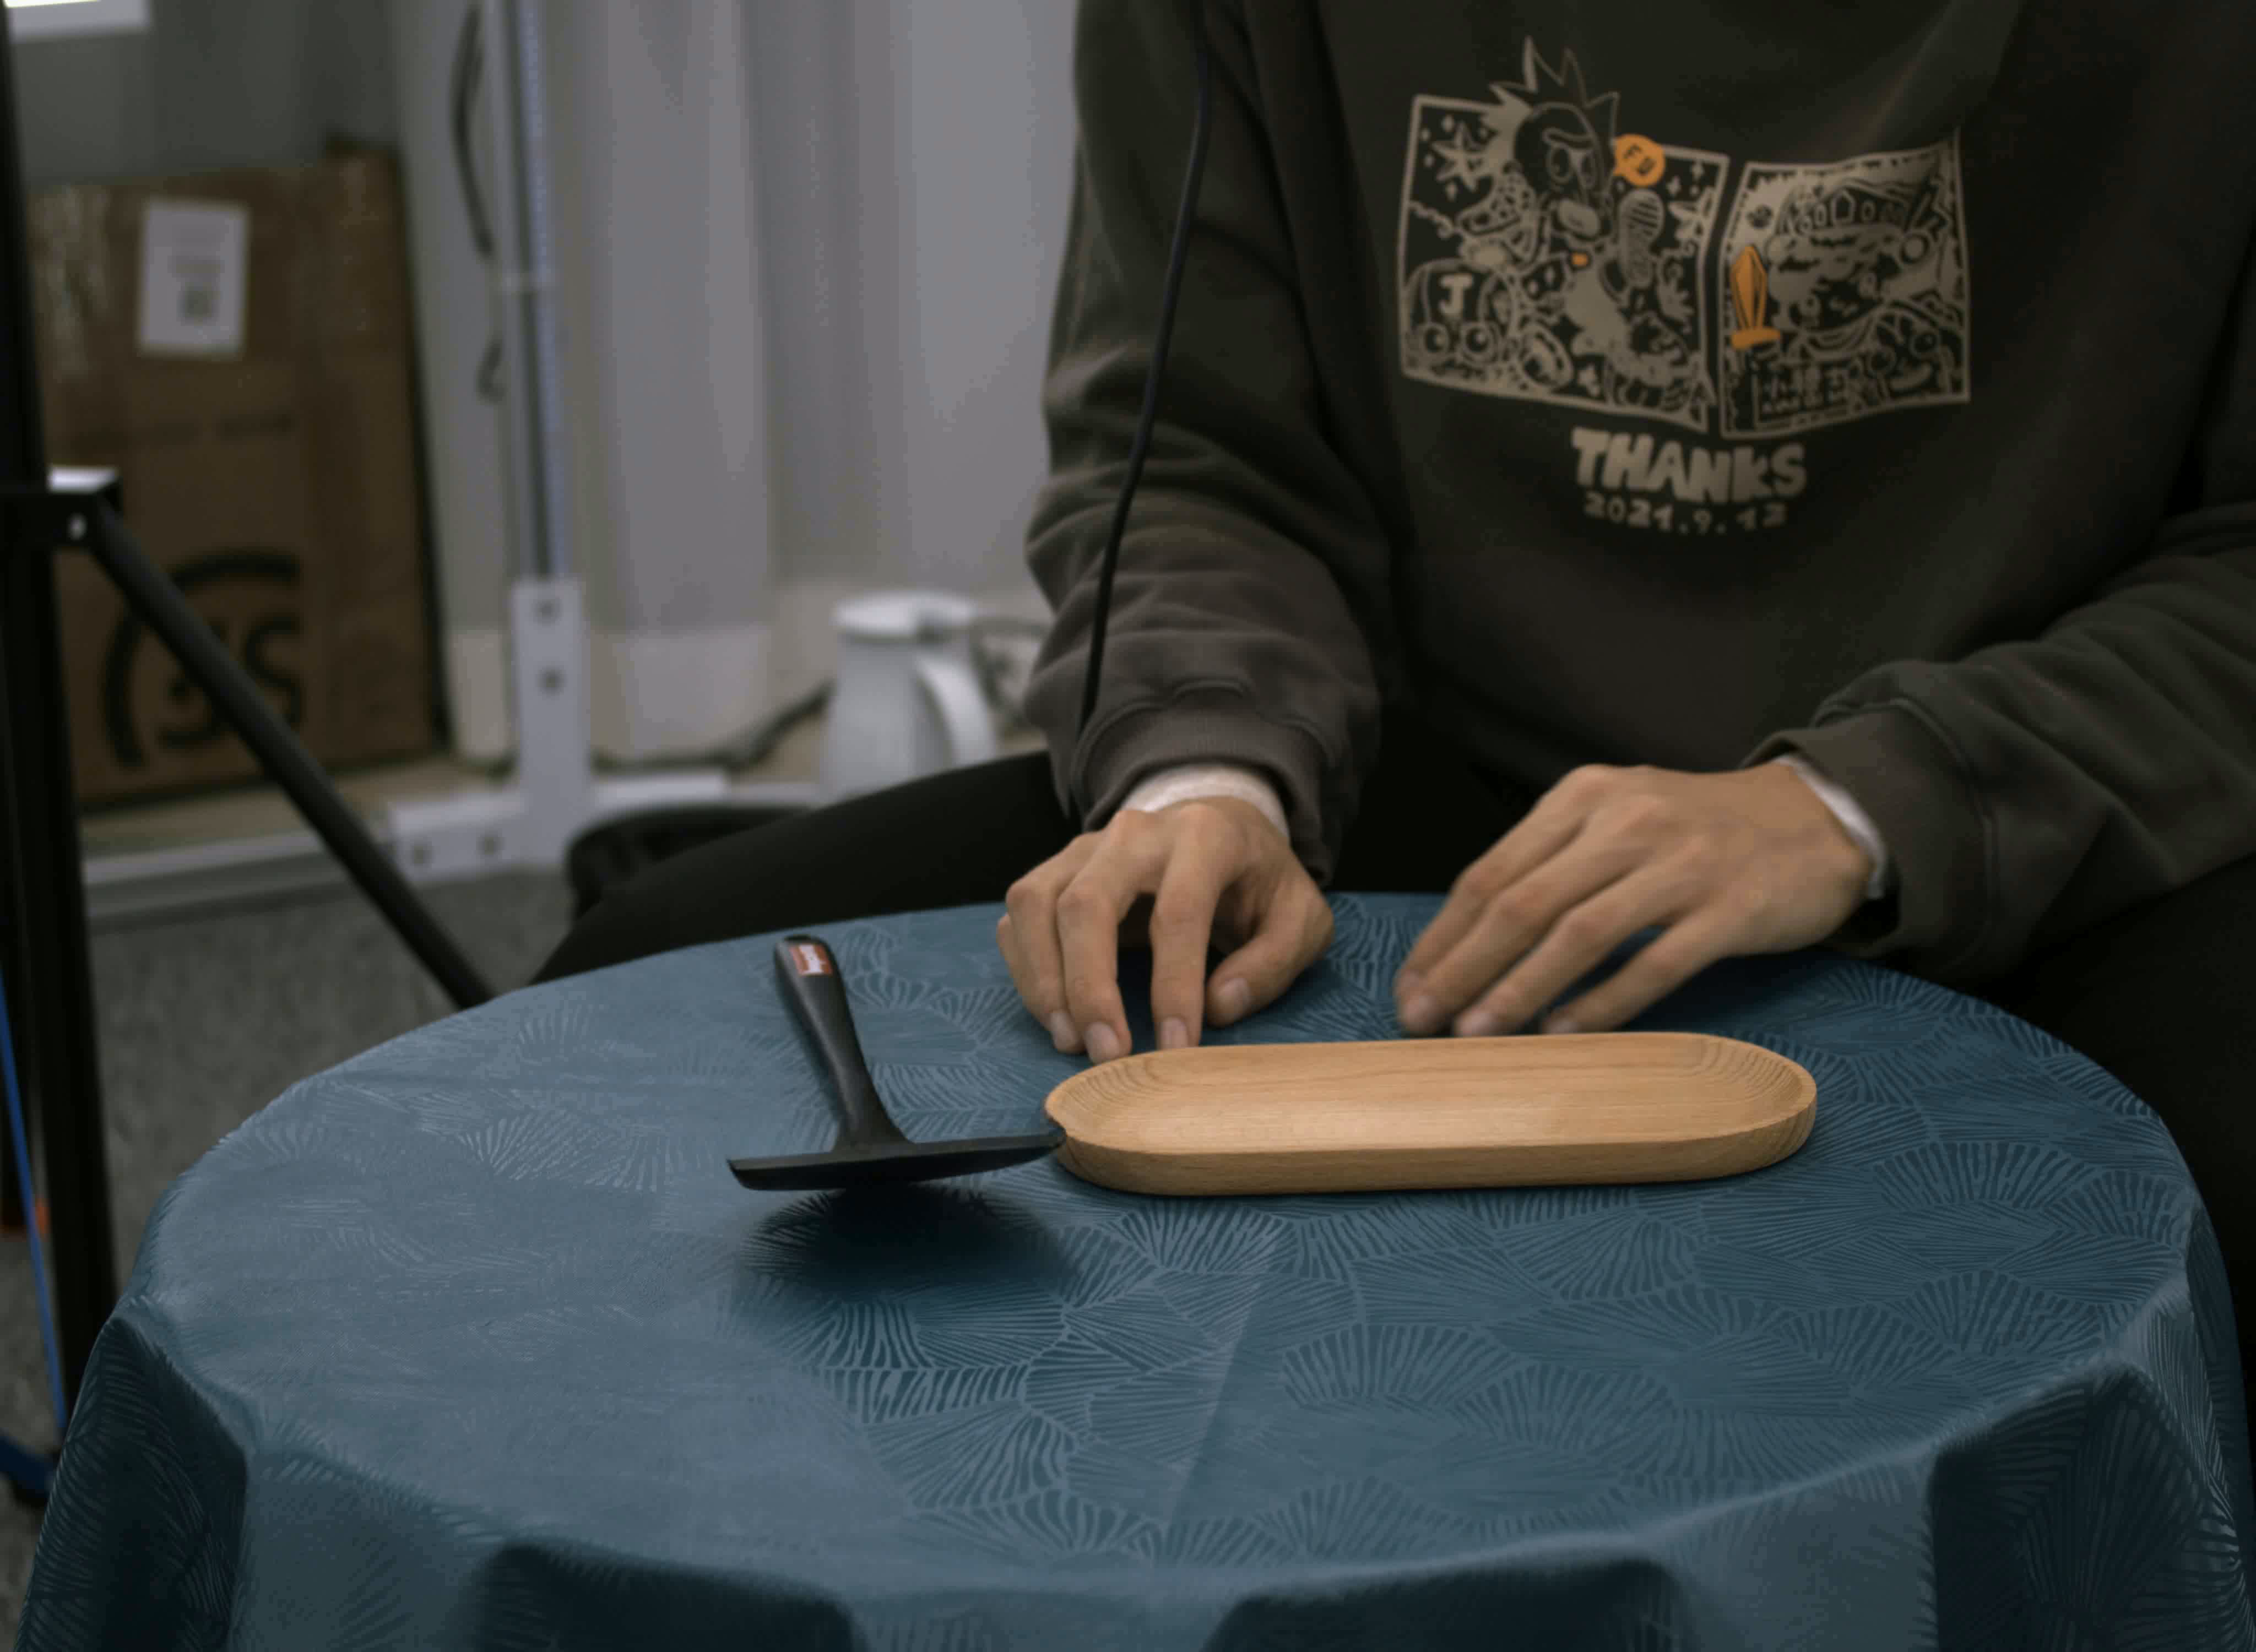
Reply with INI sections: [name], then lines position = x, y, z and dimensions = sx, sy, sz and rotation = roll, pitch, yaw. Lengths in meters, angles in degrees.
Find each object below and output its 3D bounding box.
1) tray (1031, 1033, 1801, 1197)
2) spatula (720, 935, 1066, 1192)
[tray]
position = 0.086, 0.088, 1.591
dimensions = 0.231, 0.020, 0.102
rotation = -3, 15, 4
[spatula]
position = -0.089, 0.069, 1.650
dimensions = 0.098, 0.040, 0.329
rotation = -4, 16, -8
